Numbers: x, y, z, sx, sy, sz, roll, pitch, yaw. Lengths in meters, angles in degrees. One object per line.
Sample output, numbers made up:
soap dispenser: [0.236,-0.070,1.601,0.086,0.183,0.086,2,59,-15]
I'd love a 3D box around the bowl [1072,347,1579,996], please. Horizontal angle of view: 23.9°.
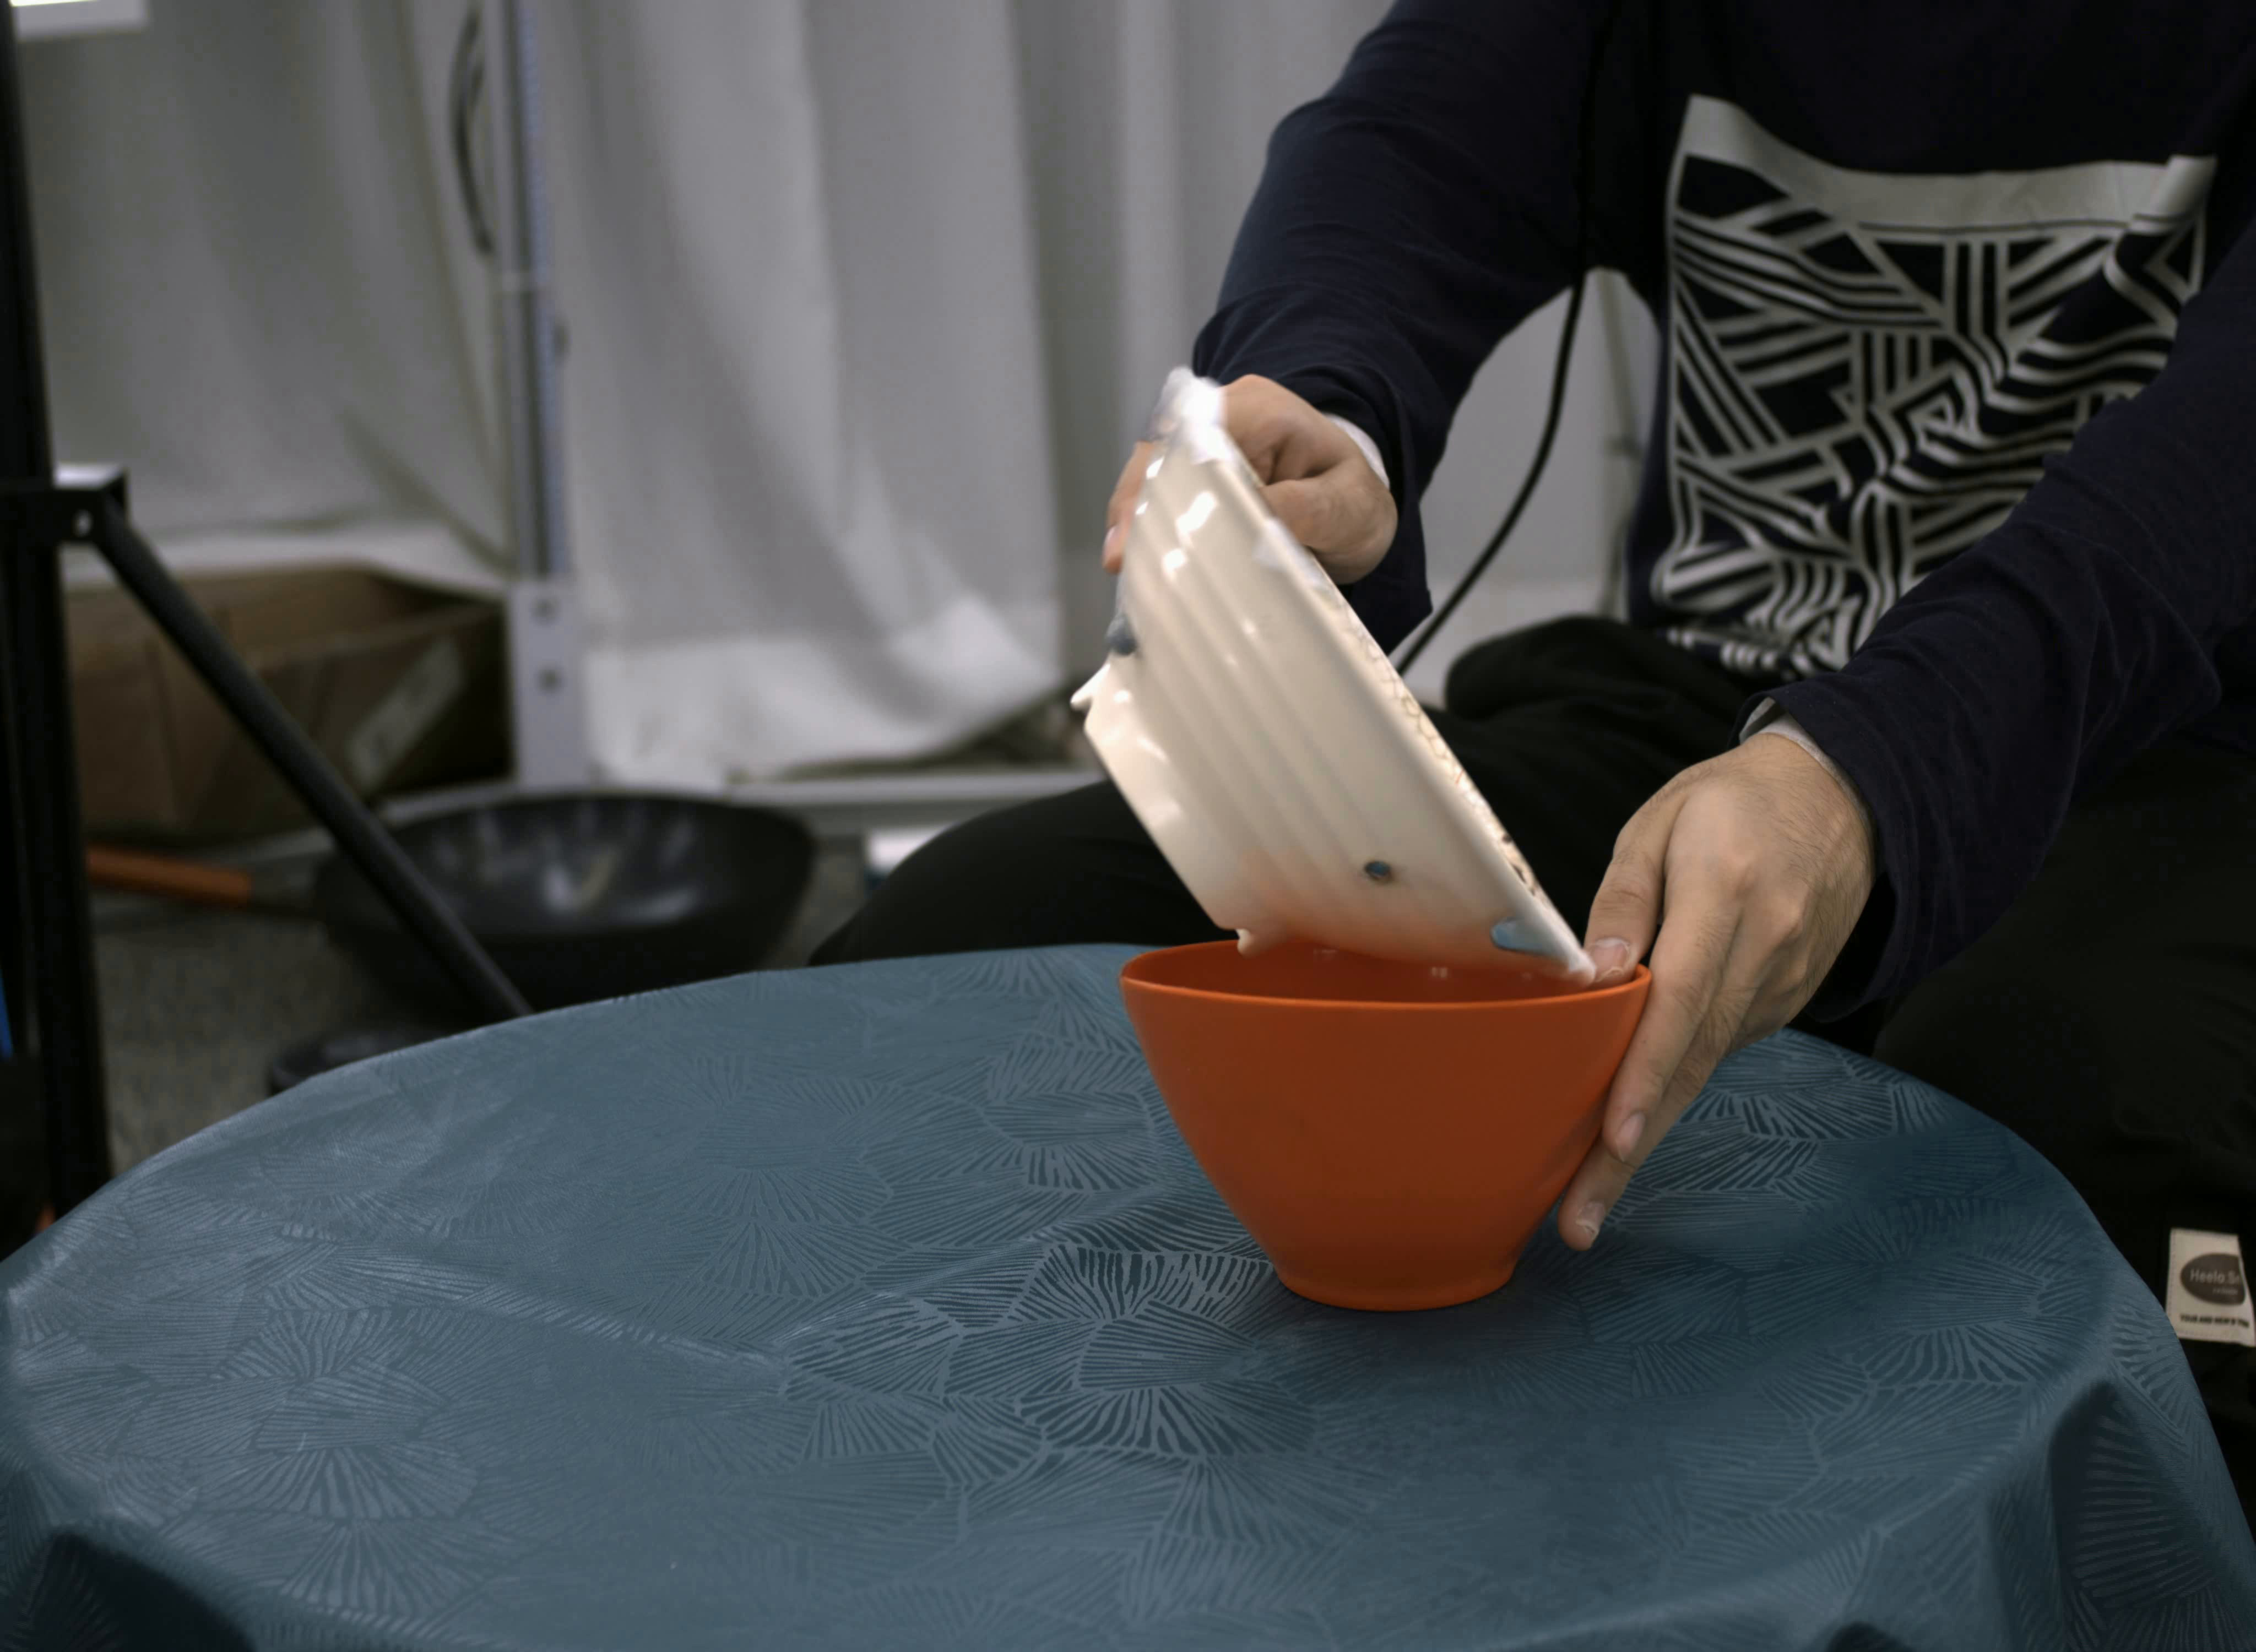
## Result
bowl: [0.040,-0.023,1.449,0.078,0.202,0.206,-31,16,2]

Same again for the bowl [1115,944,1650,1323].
bowl: [0.070,0.081,1.464,0.147,0.105,0.148,-1,13,-1]
